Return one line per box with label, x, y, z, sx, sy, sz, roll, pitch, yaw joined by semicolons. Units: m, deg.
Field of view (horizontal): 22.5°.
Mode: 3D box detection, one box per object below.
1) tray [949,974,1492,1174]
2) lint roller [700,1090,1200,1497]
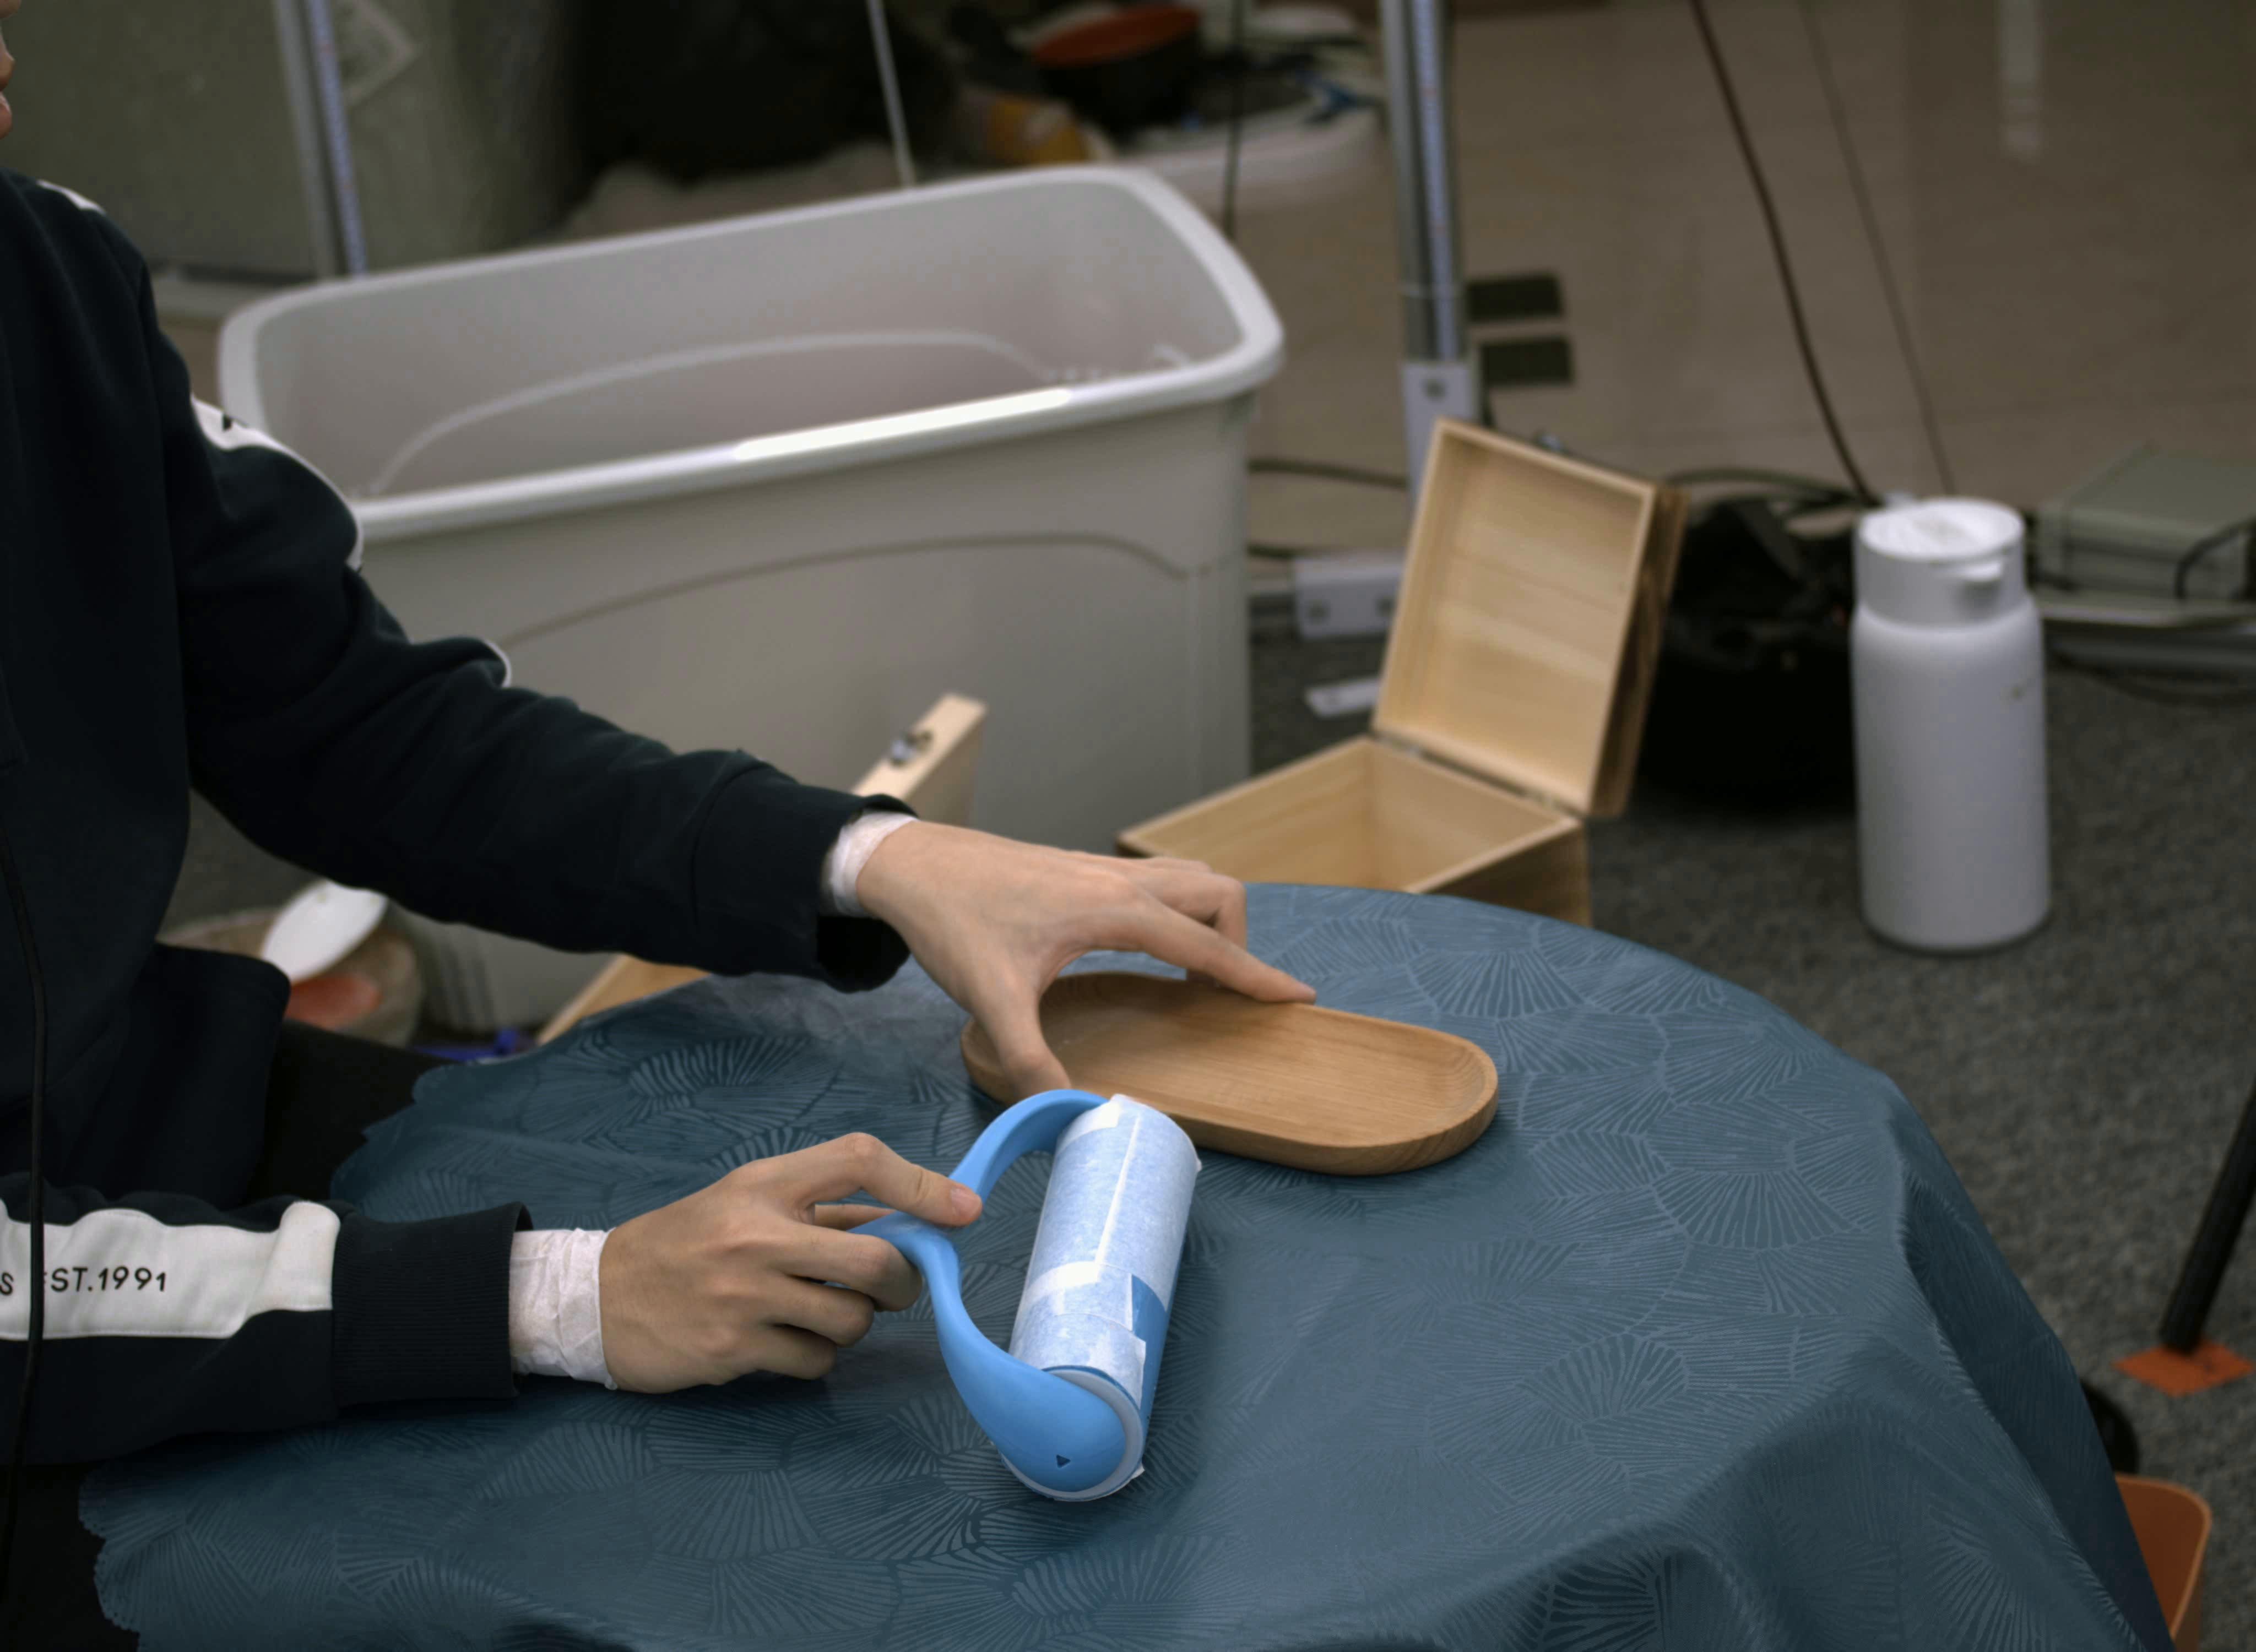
tray;0.035;0.096;2.208;0.230;0.020;0.100;8;27;32
lint roller;-0.068;0.169;2.029;0.180;0.069;0.225;-3;27;5
